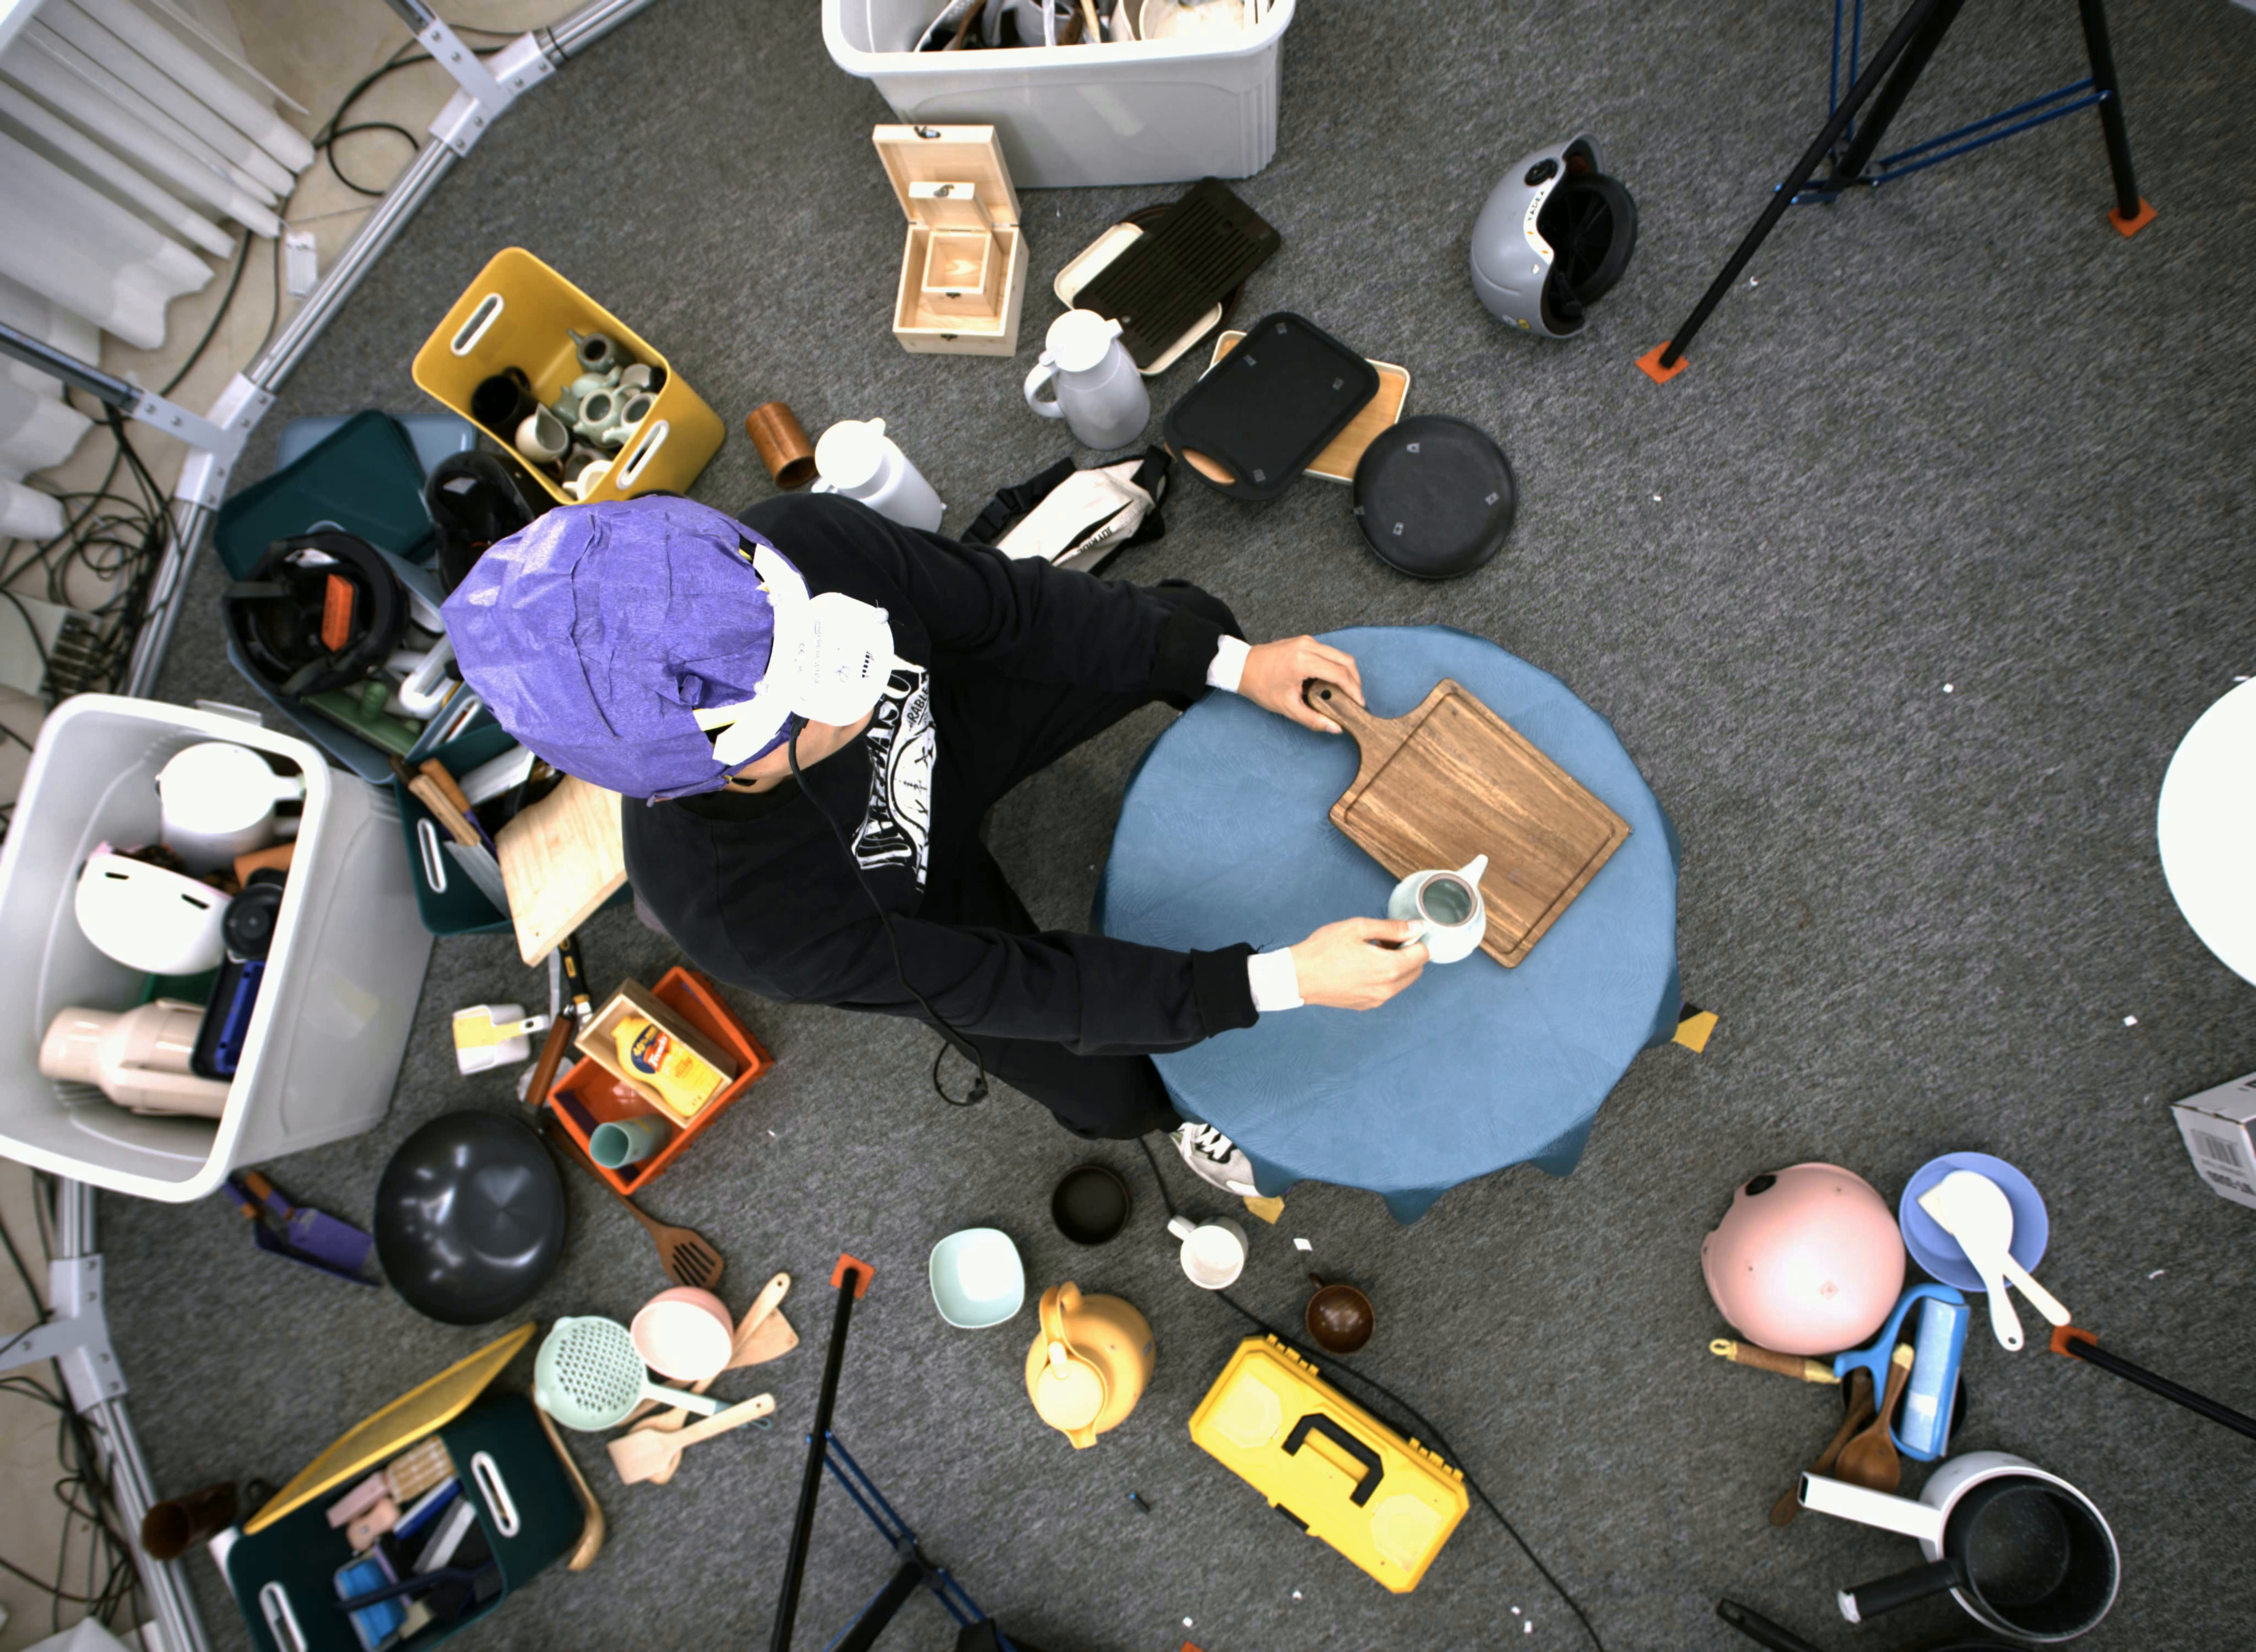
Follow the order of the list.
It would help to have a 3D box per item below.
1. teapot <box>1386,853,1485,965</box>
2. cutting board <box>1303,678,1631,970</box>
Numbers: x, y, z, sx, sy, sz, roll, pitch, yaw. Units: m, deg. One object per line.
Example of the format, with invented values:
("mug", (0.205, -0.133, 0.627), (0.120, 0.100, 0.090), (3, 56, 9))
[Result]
("teapot", (0.298, 0.085, 1.328), (0.096, 0.062, 0.135), (39, 69, 12))
("cutting board", (0.325, -0.036, 1.428), (0.351, 0.023, 0.202), (40, 94, 4))
